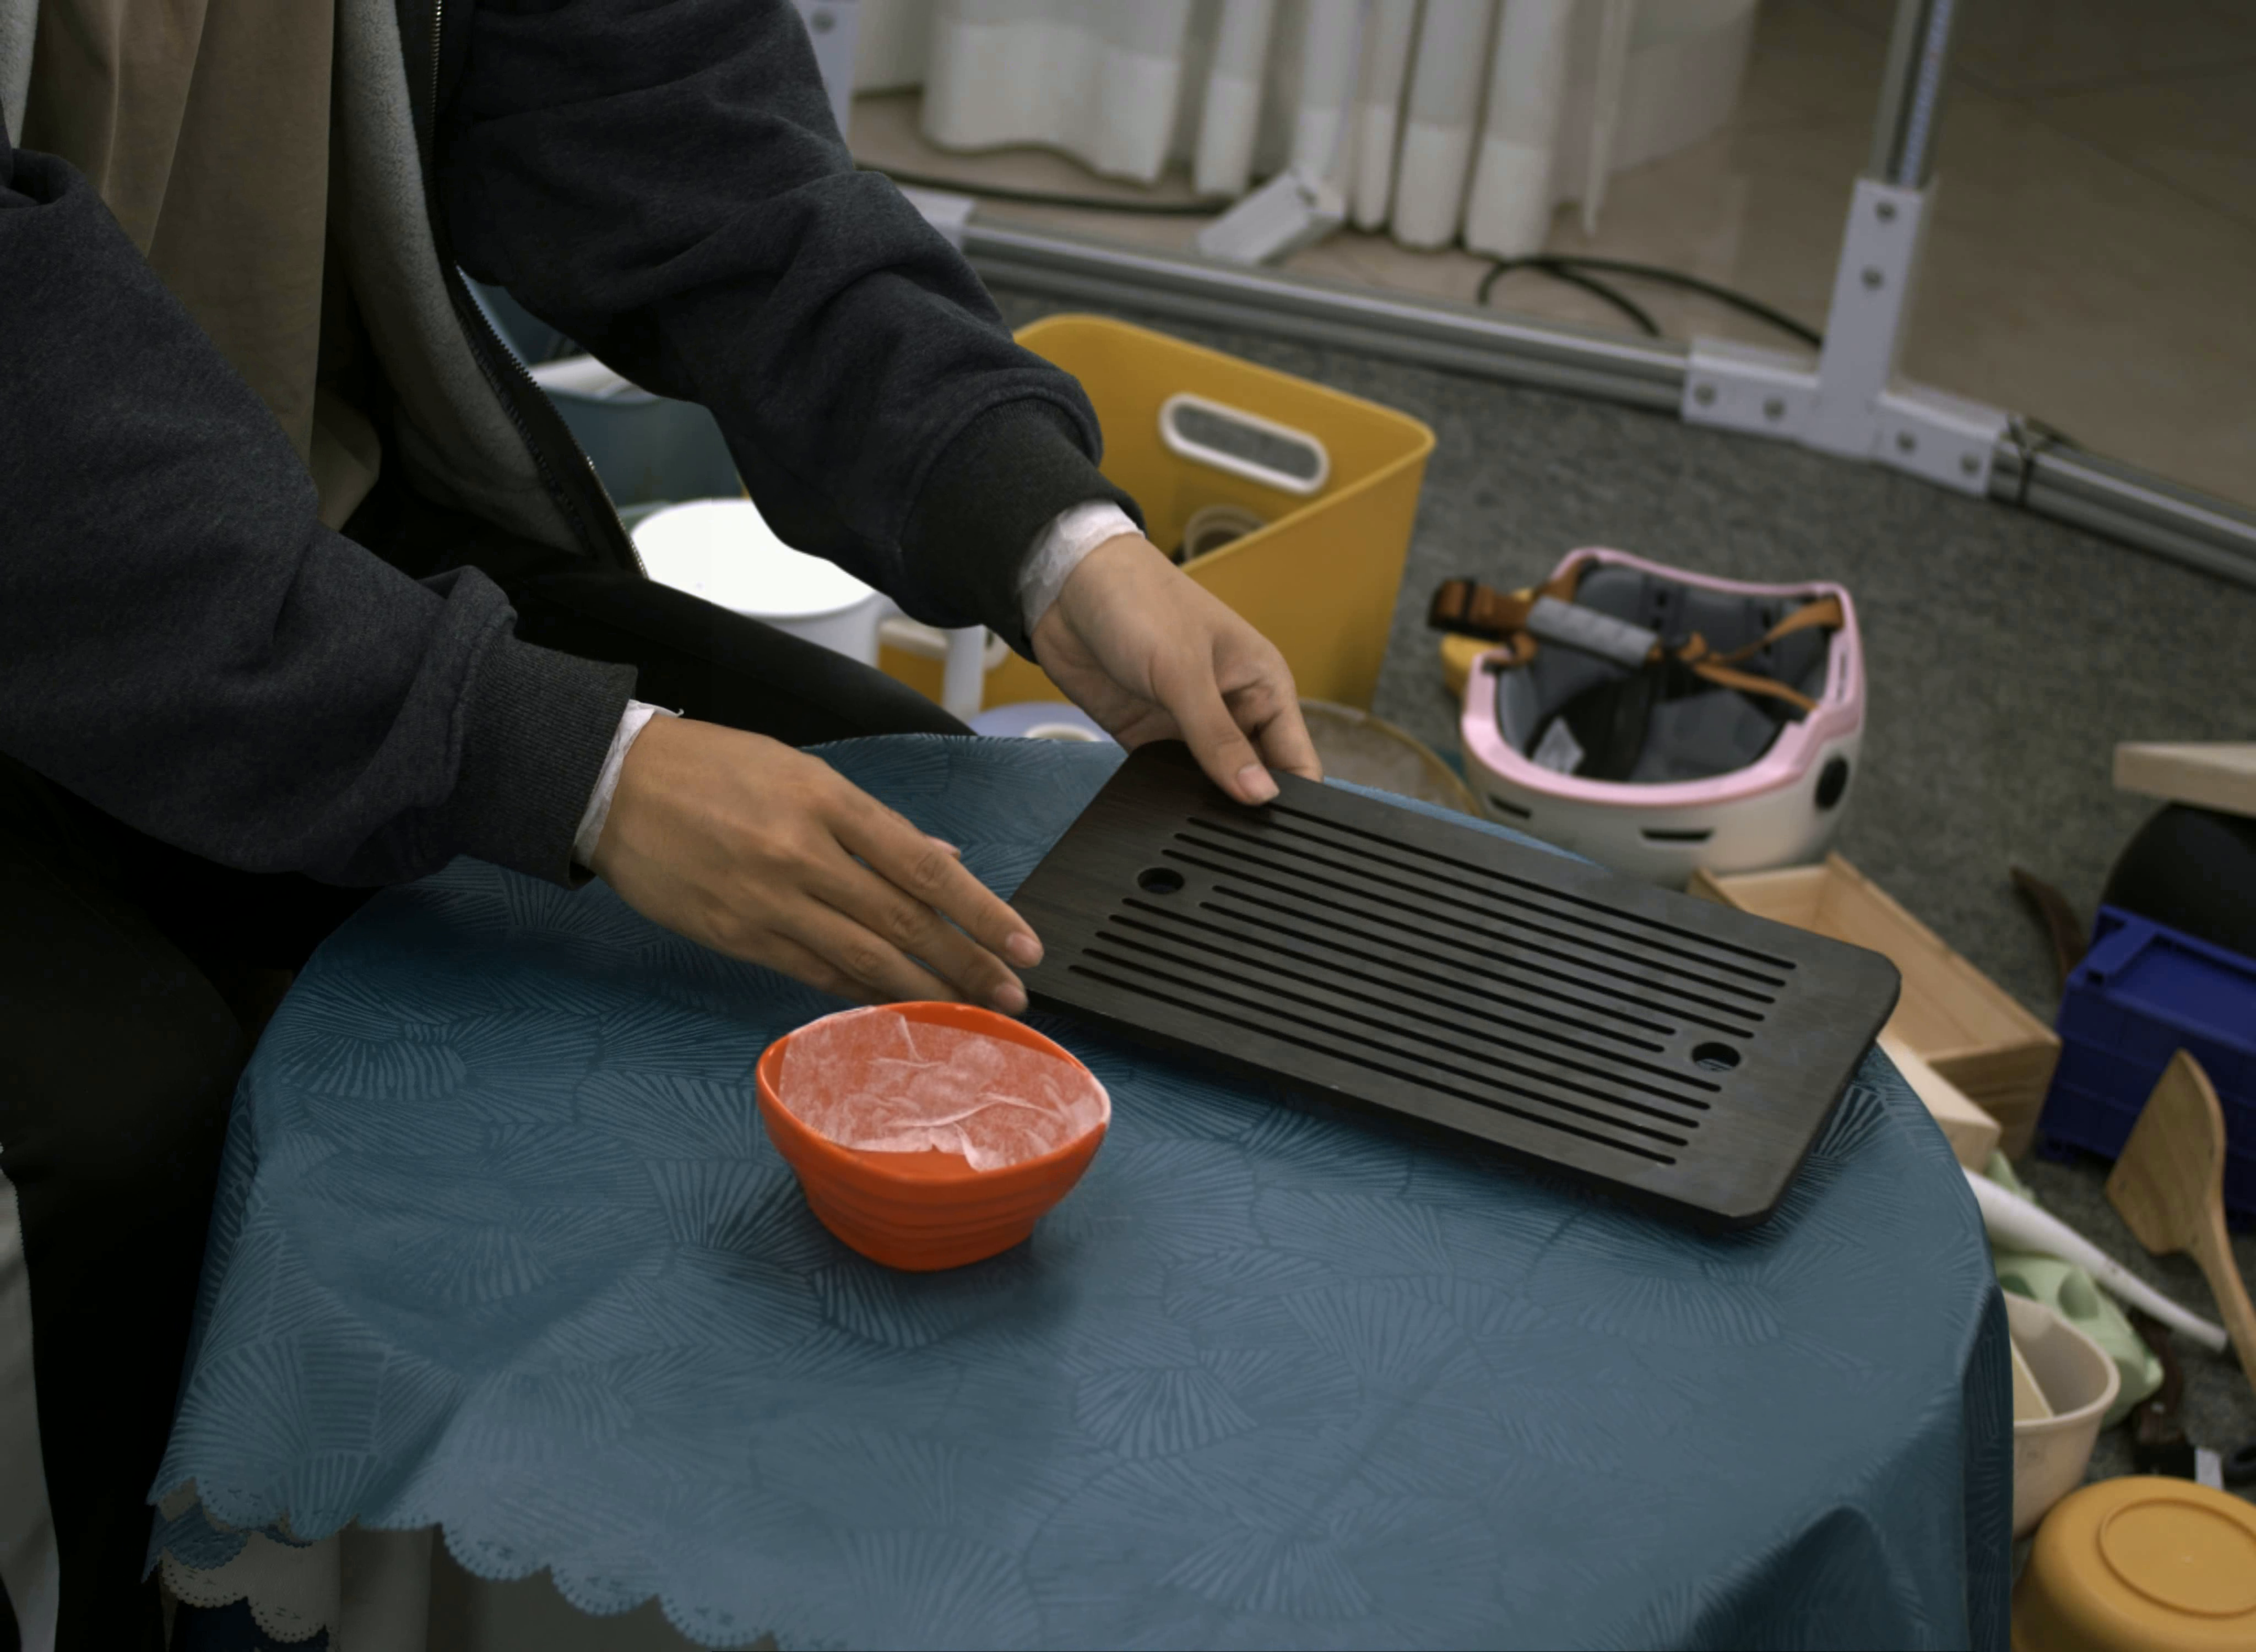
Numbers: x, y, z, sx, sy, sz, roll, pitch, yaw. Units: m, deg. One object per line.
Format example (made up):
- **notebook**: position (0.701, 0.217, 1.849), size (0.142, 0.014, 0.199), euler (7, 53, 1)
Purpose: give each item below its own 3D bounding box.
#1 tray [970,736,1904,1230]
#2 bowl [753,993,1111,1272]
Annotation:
- **tray**: position (0.111, 0.054, 1.913), size (0.307, 0.018, 0.170), euler (17, 38, 19)
- **bowl**: position (-0.067, 0.106, 1.762), size (0.118, 0.051, 0.119), euler (5, 28, -3)
